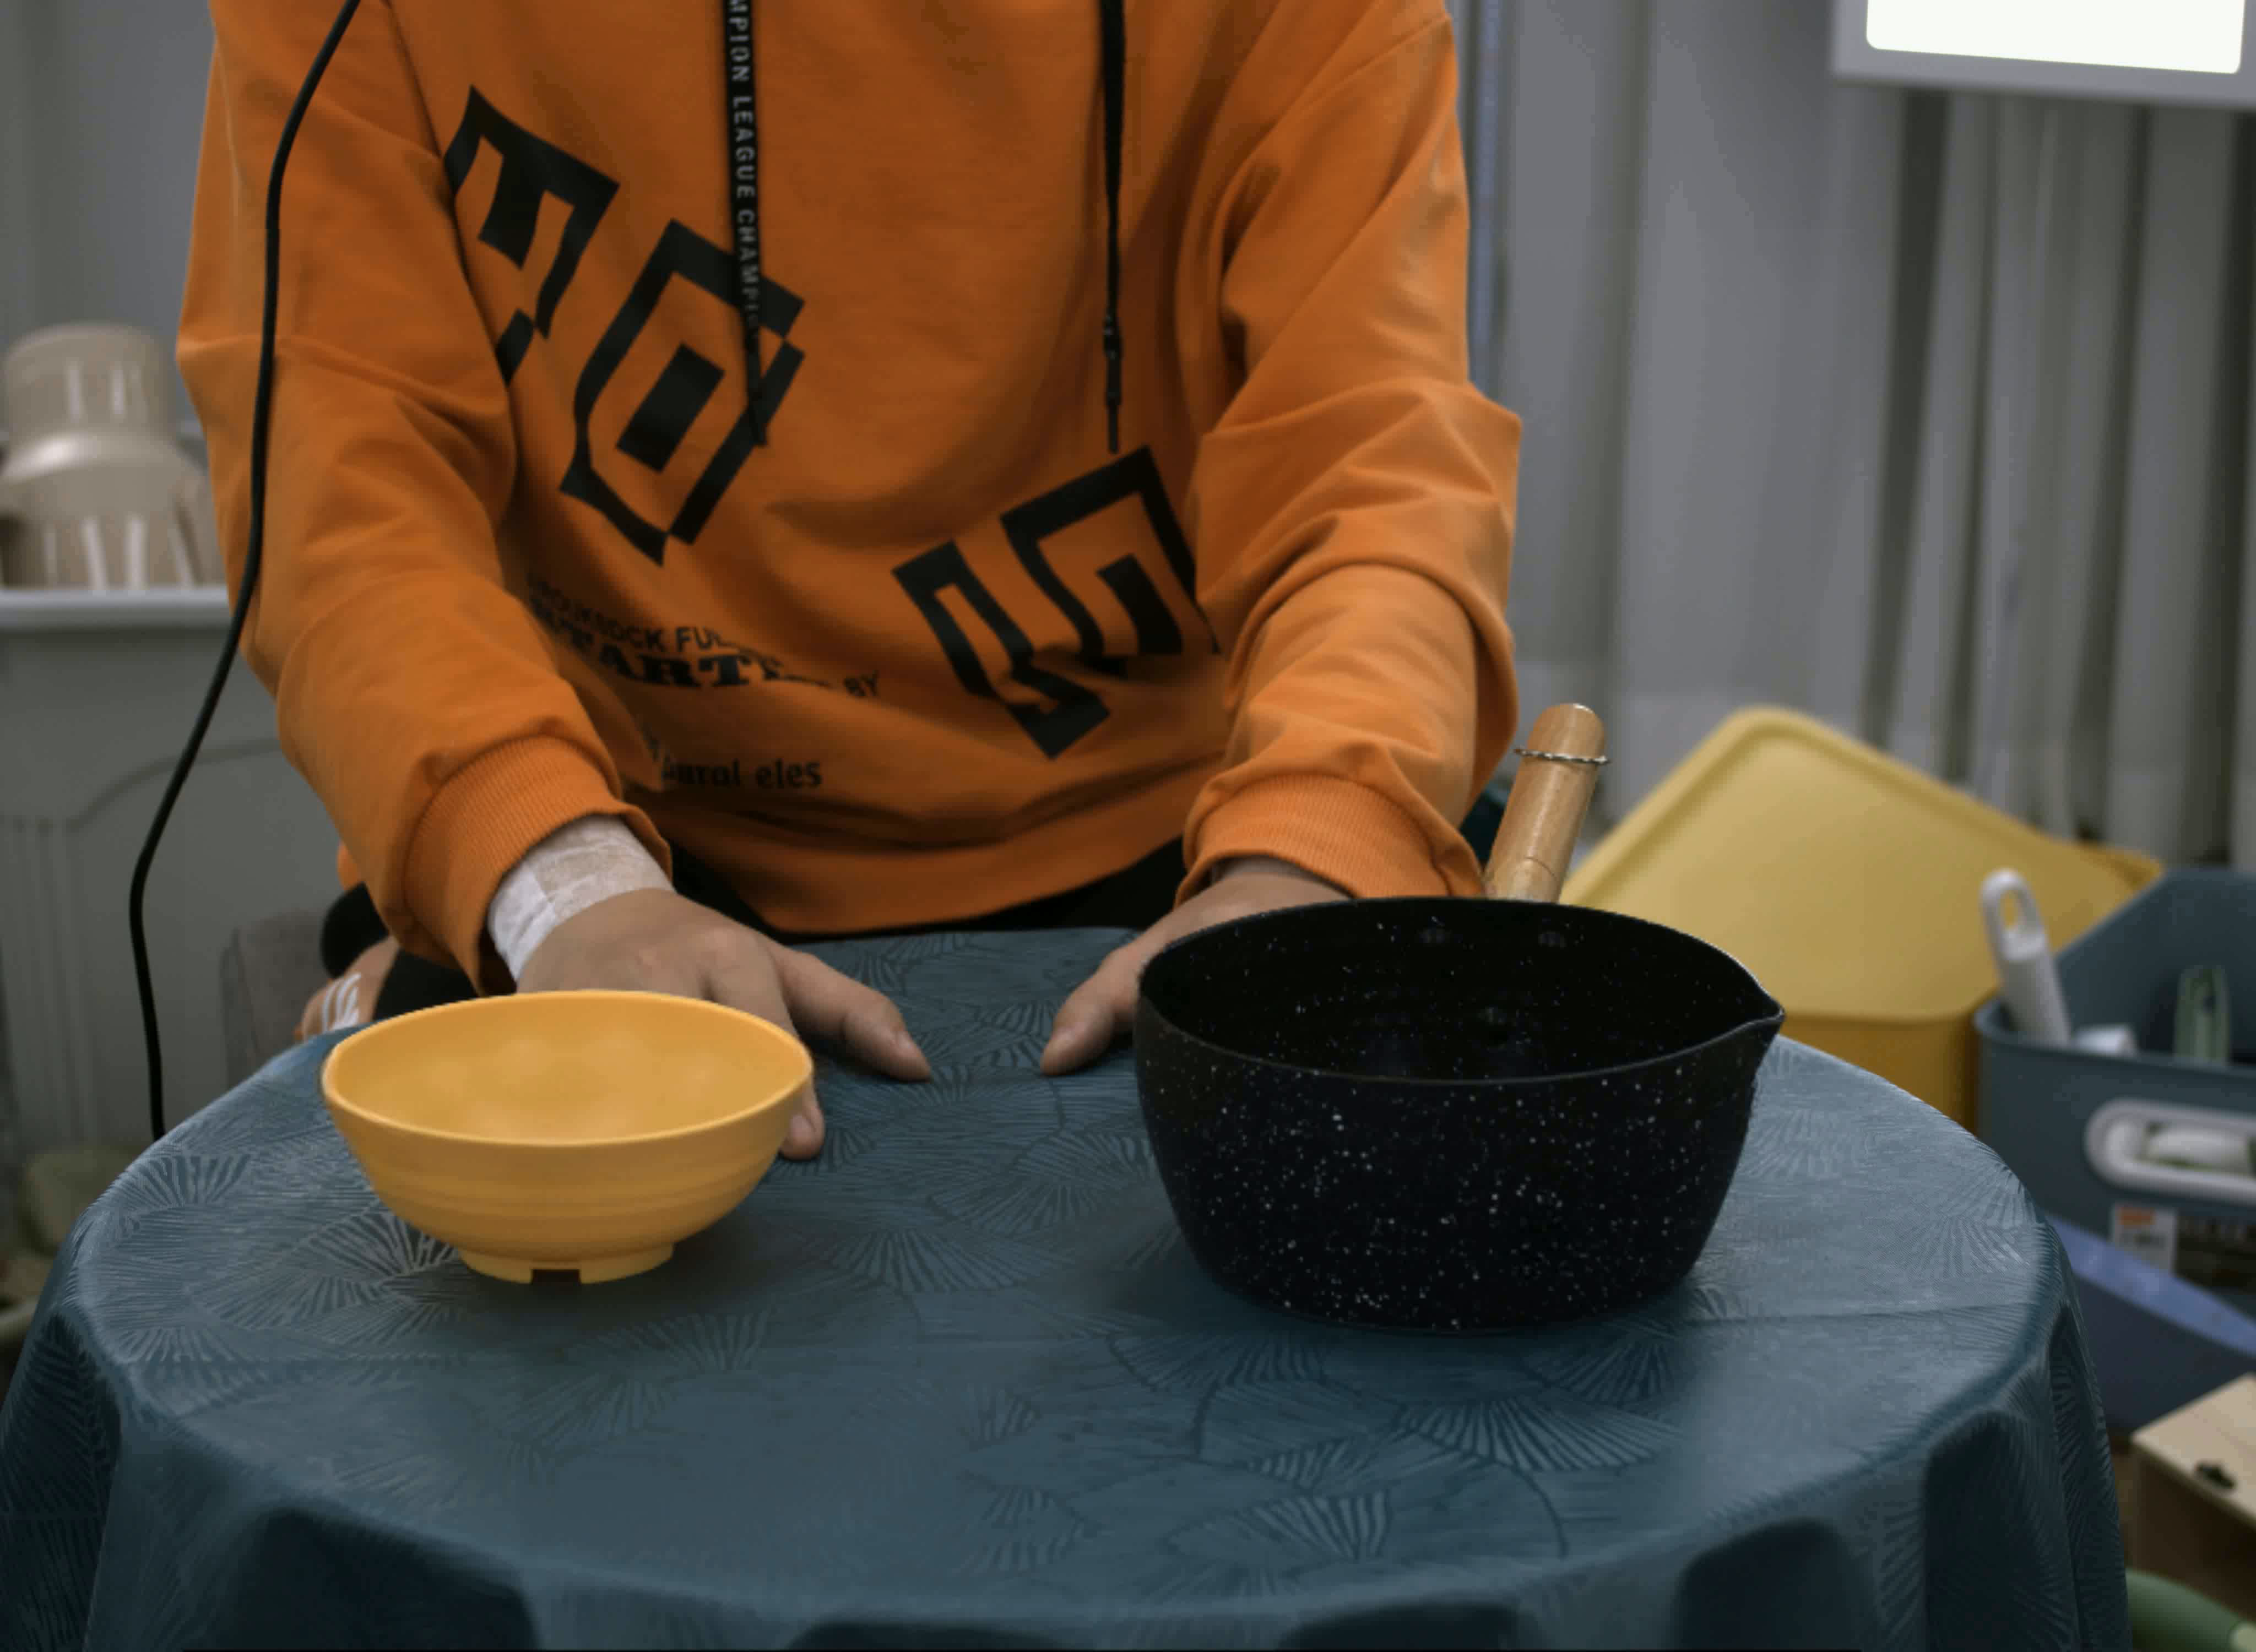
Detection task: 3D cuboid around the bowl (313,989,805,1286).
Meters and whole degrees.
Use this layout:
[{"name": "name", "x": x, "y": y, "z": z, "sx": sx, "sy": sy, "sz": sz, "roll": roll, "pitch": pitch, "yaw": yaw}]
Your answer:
[{"name": "bowl", "x": -0.168, "y": 0.097, "z": 1.562, "sx": 0.145, "sy": 0.060, "sz": 0.144, "roll": 2, "pitch": 15, "yaw": 0}]

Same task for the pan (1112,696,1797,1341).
[{"name": "pan", "x": 0.111, "y": 0.054, "z": 1.632, "sx": 0.206, "sy": 0.109, "sz": 0.342, "roll": 2, "pitch": 17, "yaw": 12}]
